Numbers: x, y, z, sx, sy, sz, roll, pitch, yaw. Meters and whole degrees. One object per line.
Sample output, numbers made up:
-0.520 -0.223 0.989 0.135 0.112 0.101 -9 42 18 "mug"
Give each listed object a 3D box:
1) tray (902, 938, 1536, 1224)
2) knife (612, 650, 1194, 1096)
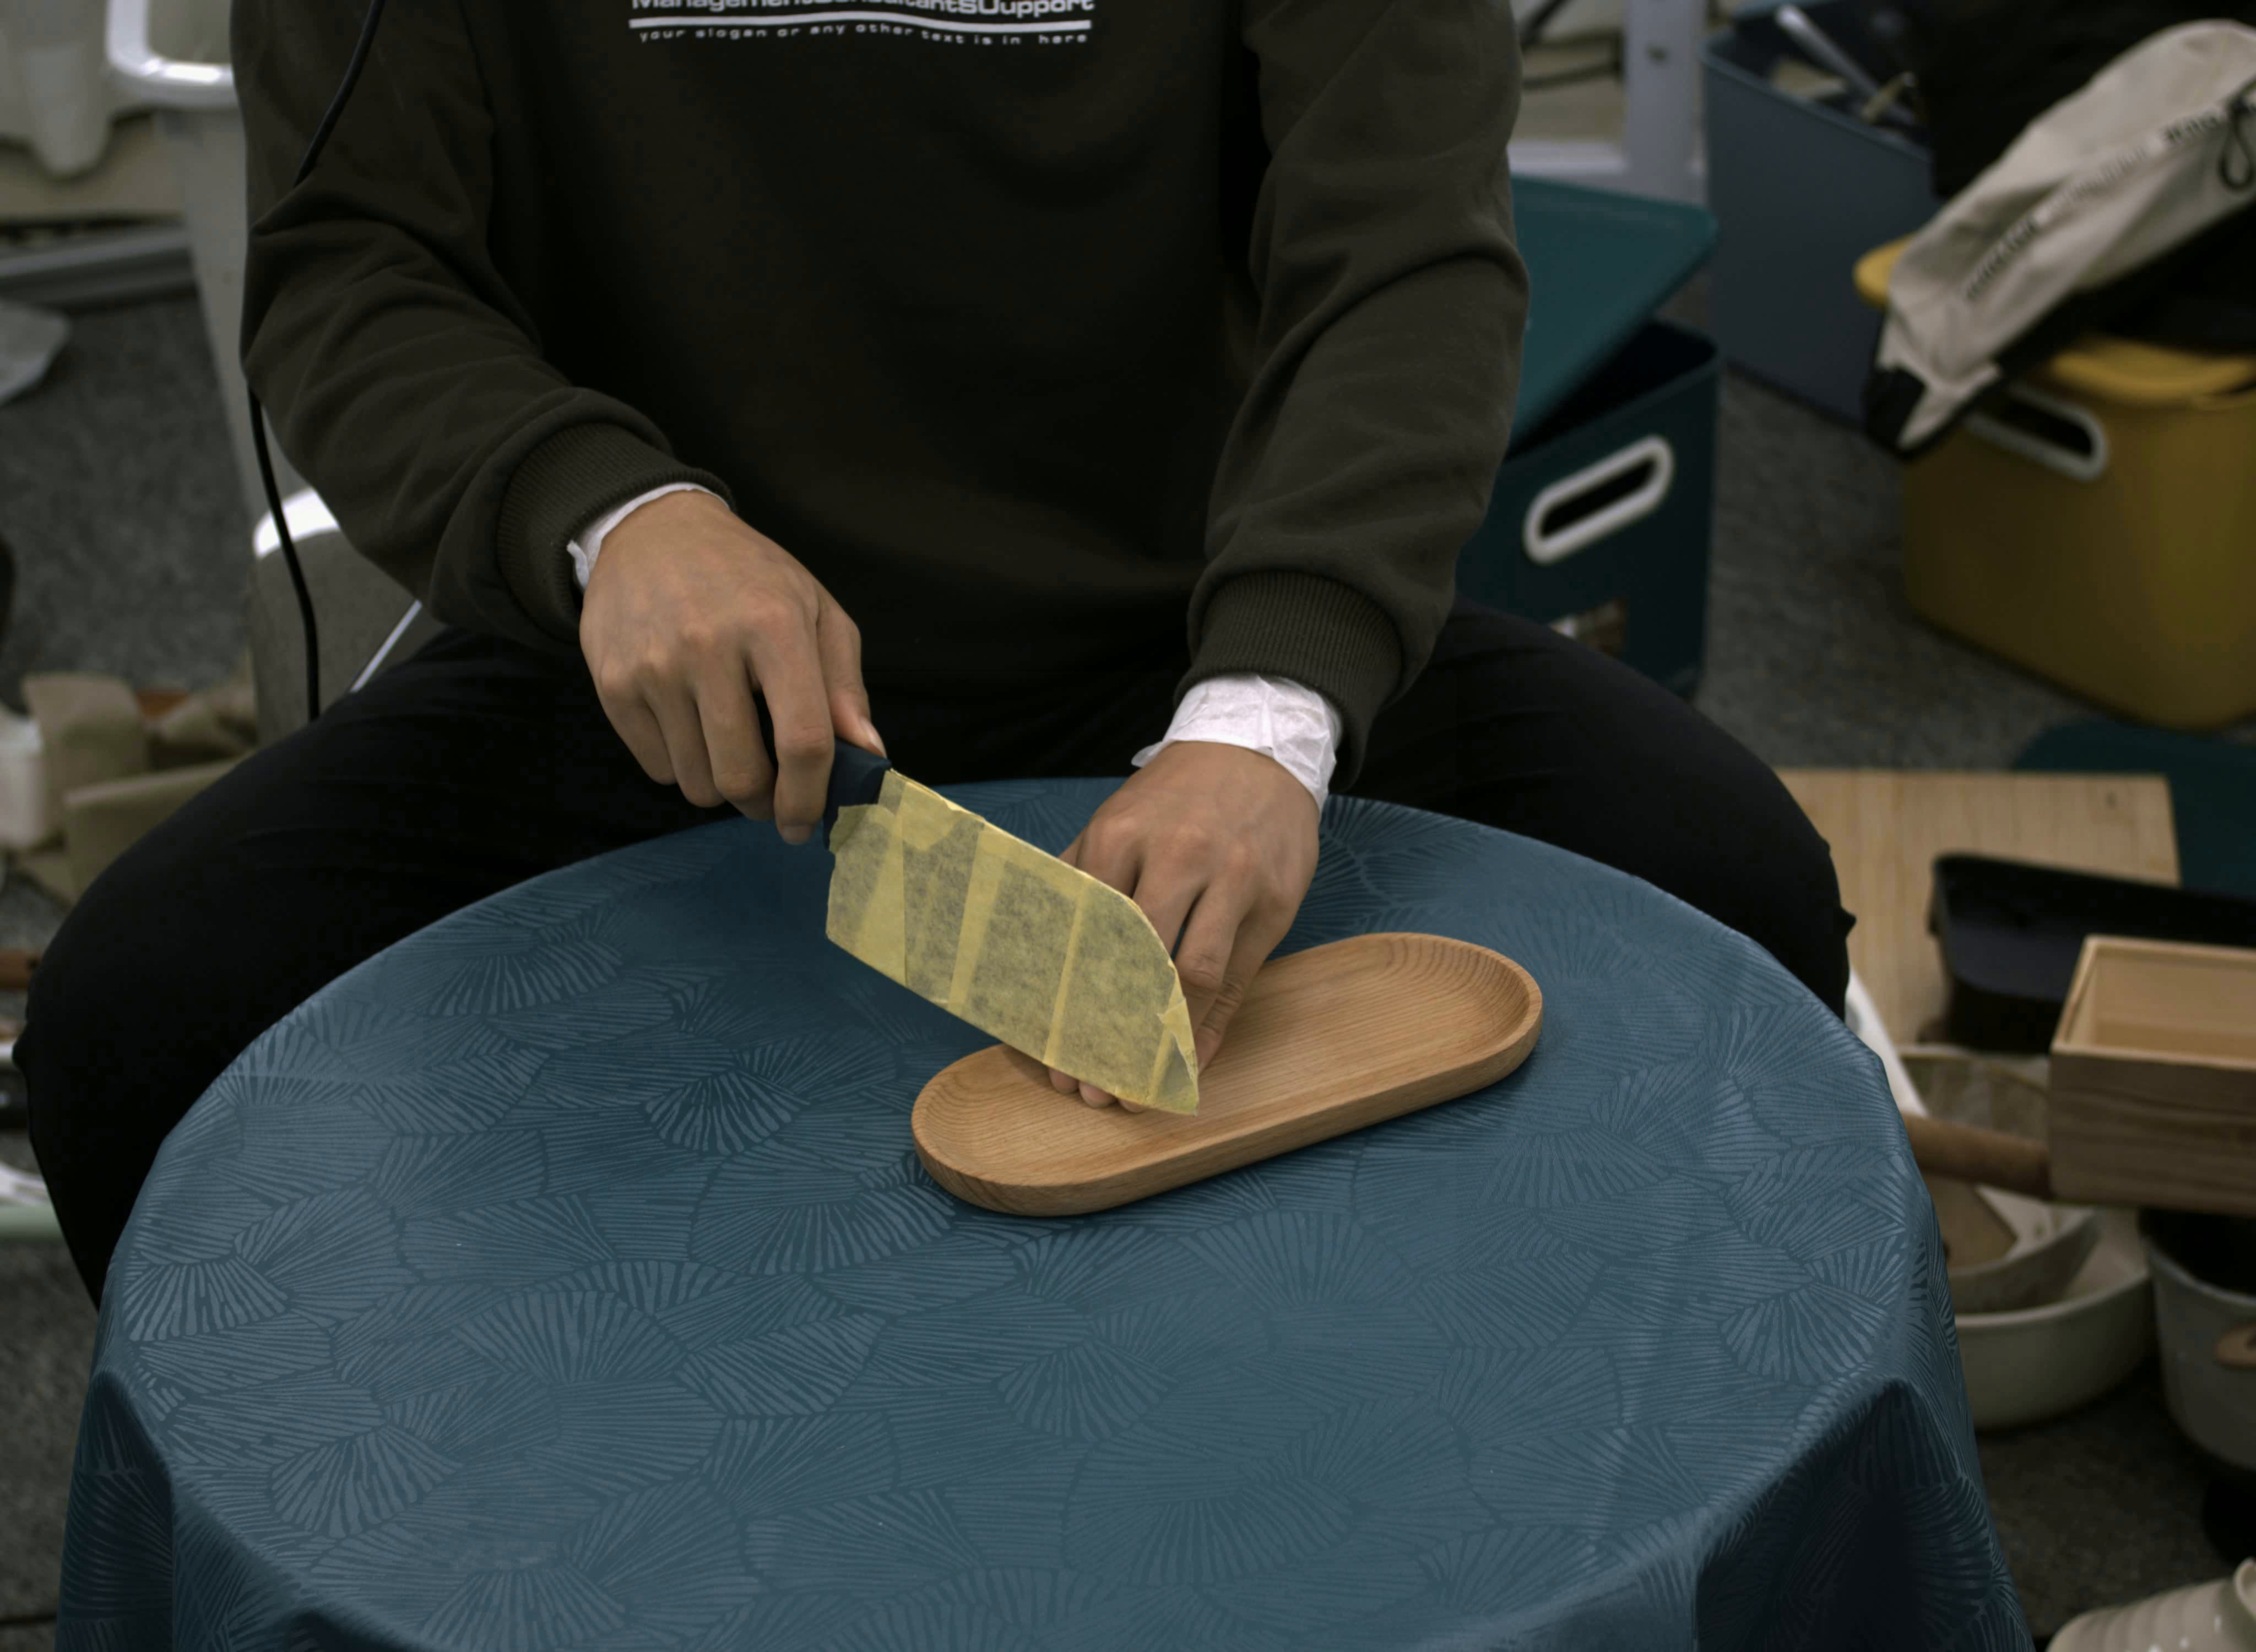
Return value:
0.032 0.086 1.910 0.232 0.020 0.102 -18 28 -23 "tray"
-0.080 0.014 1.941 0.290 0.080 0.027 32 25 34 "knife"
